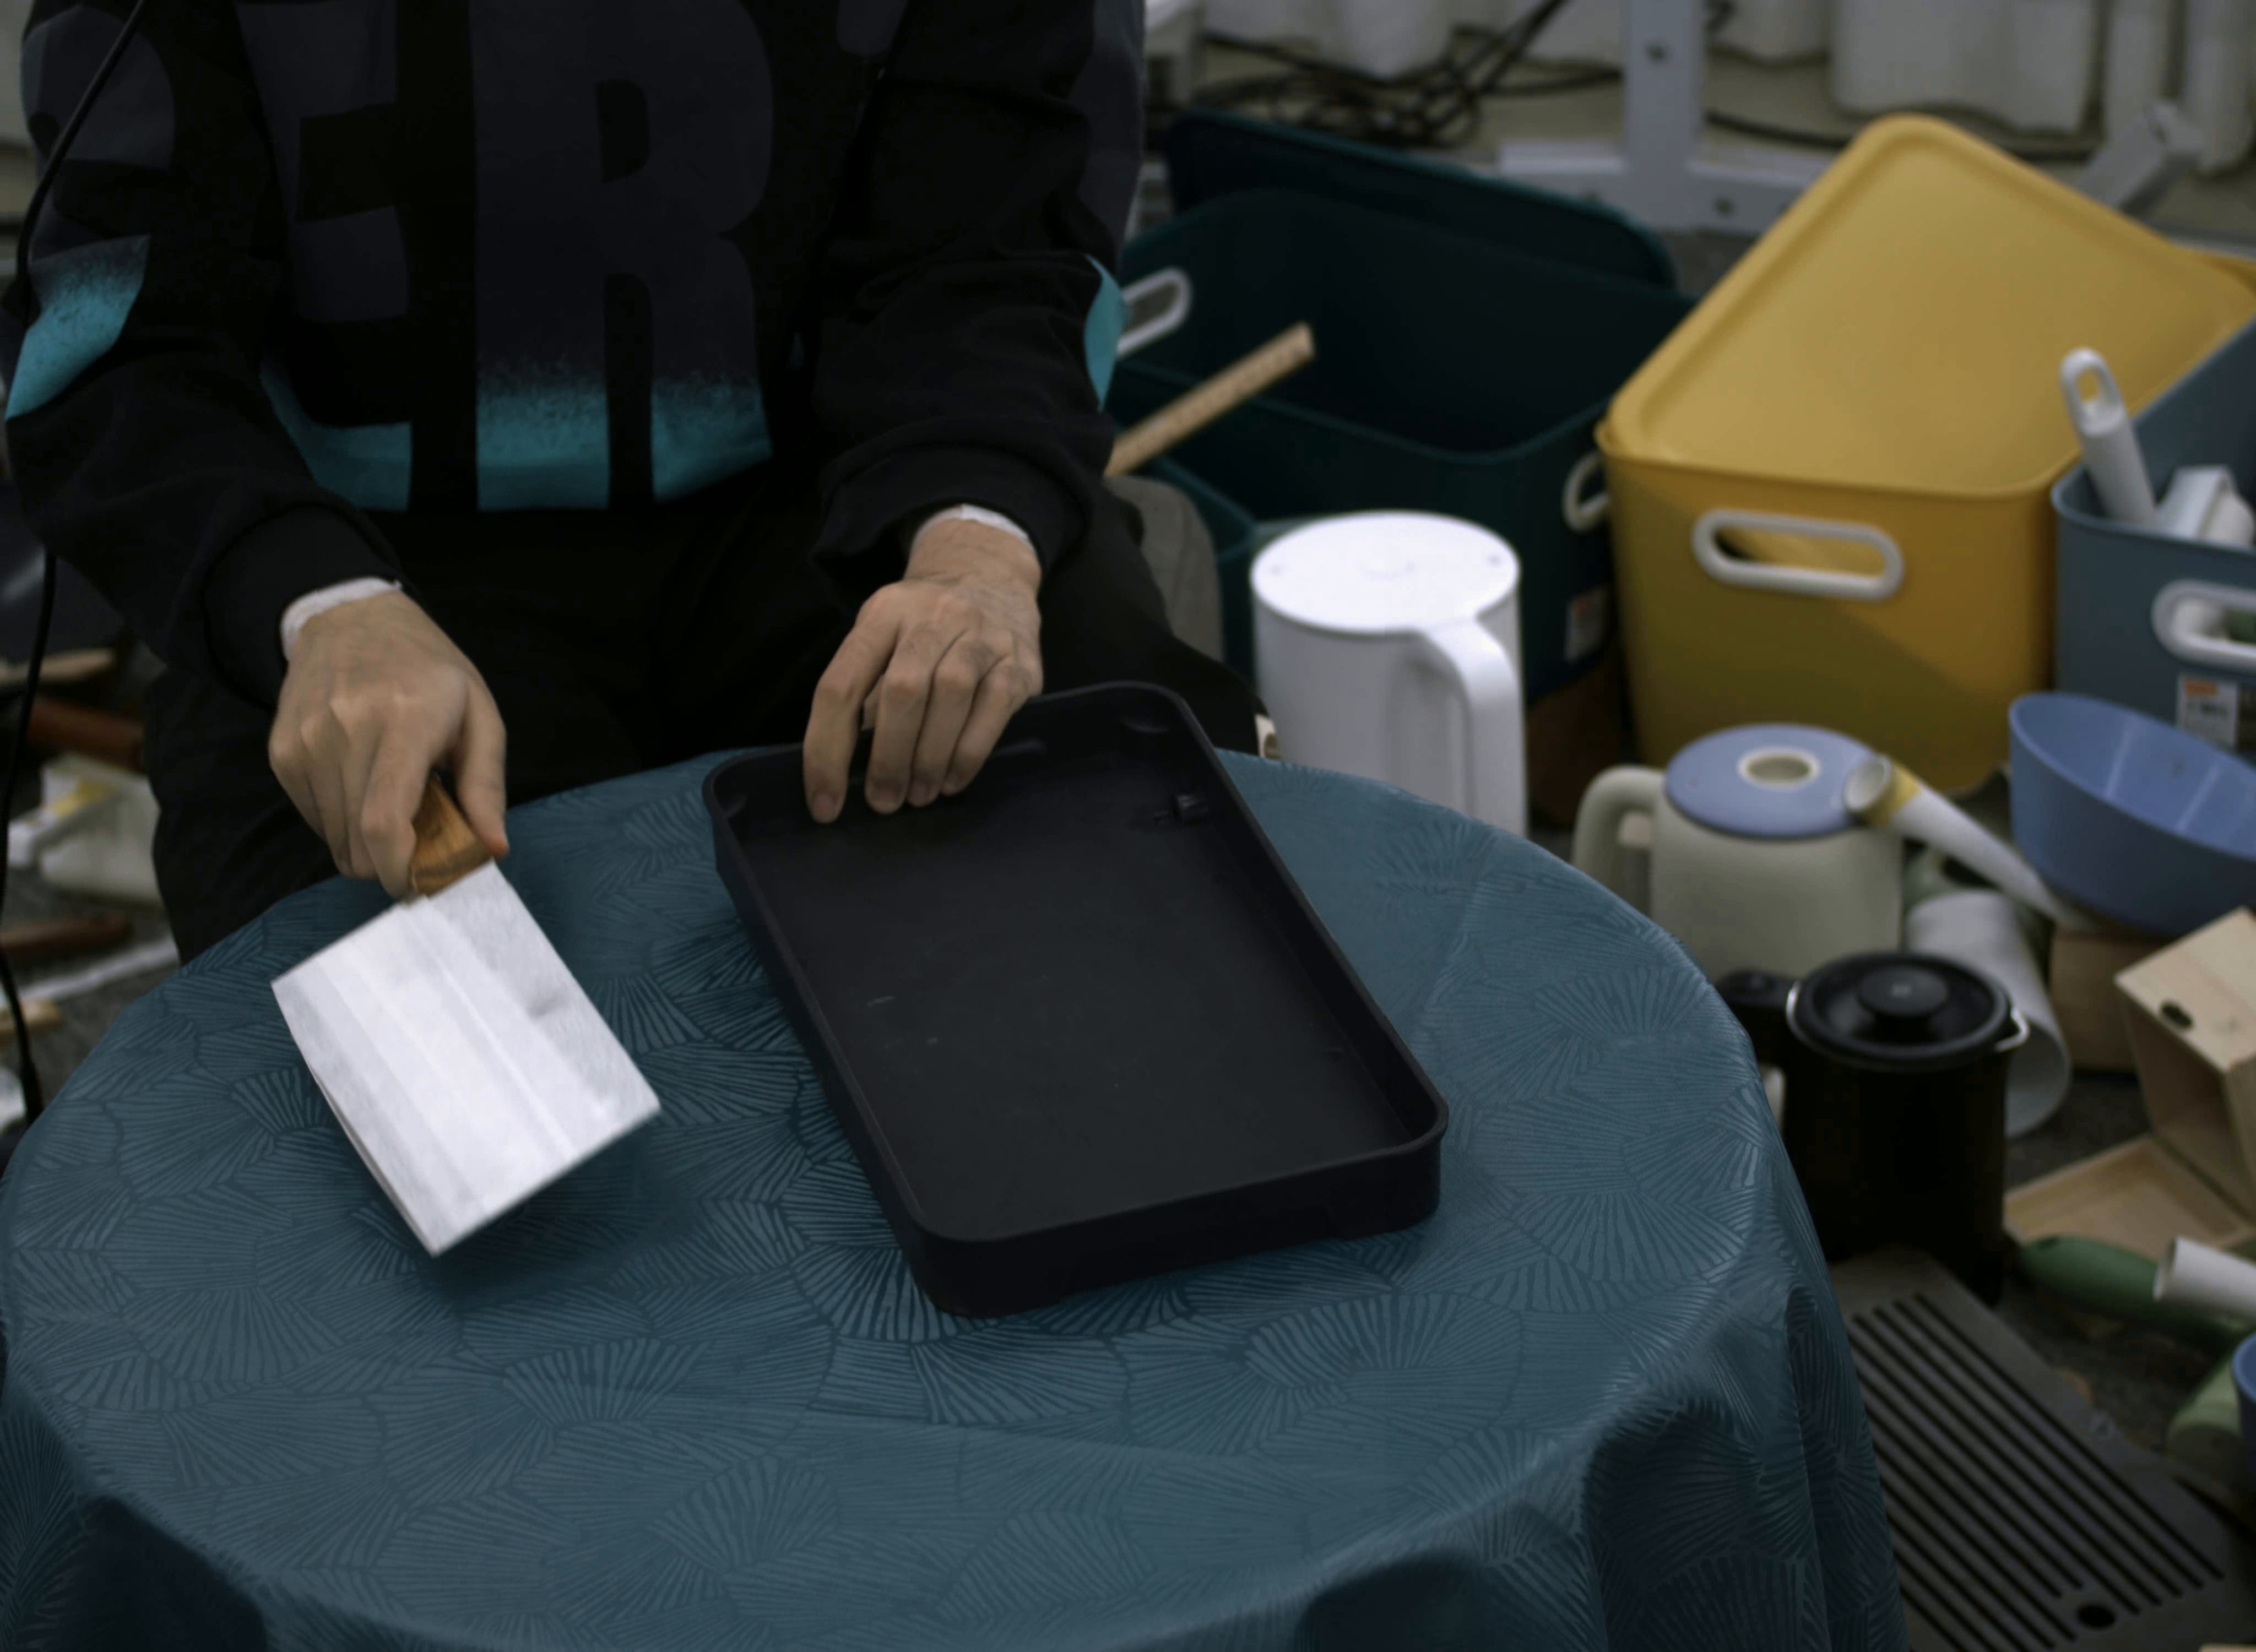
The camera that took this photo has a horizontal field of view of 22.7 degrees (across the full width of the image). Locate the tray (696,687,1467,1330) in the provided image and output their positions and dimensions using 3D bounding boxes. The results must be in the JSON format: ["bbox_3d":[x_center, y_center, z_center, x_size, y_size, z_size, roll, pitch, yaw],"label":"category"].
[{"bbox_3d":[-0.022,0.056,1.930,0.184,0.036,0.321,-12,33,-16],"label":"tray"}]

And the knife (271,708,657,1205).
[{"bbox_3d":[-0.248,0.046,1.939,0.093,0.021,0.308,-33,35,-7],"label":"knife"}]
